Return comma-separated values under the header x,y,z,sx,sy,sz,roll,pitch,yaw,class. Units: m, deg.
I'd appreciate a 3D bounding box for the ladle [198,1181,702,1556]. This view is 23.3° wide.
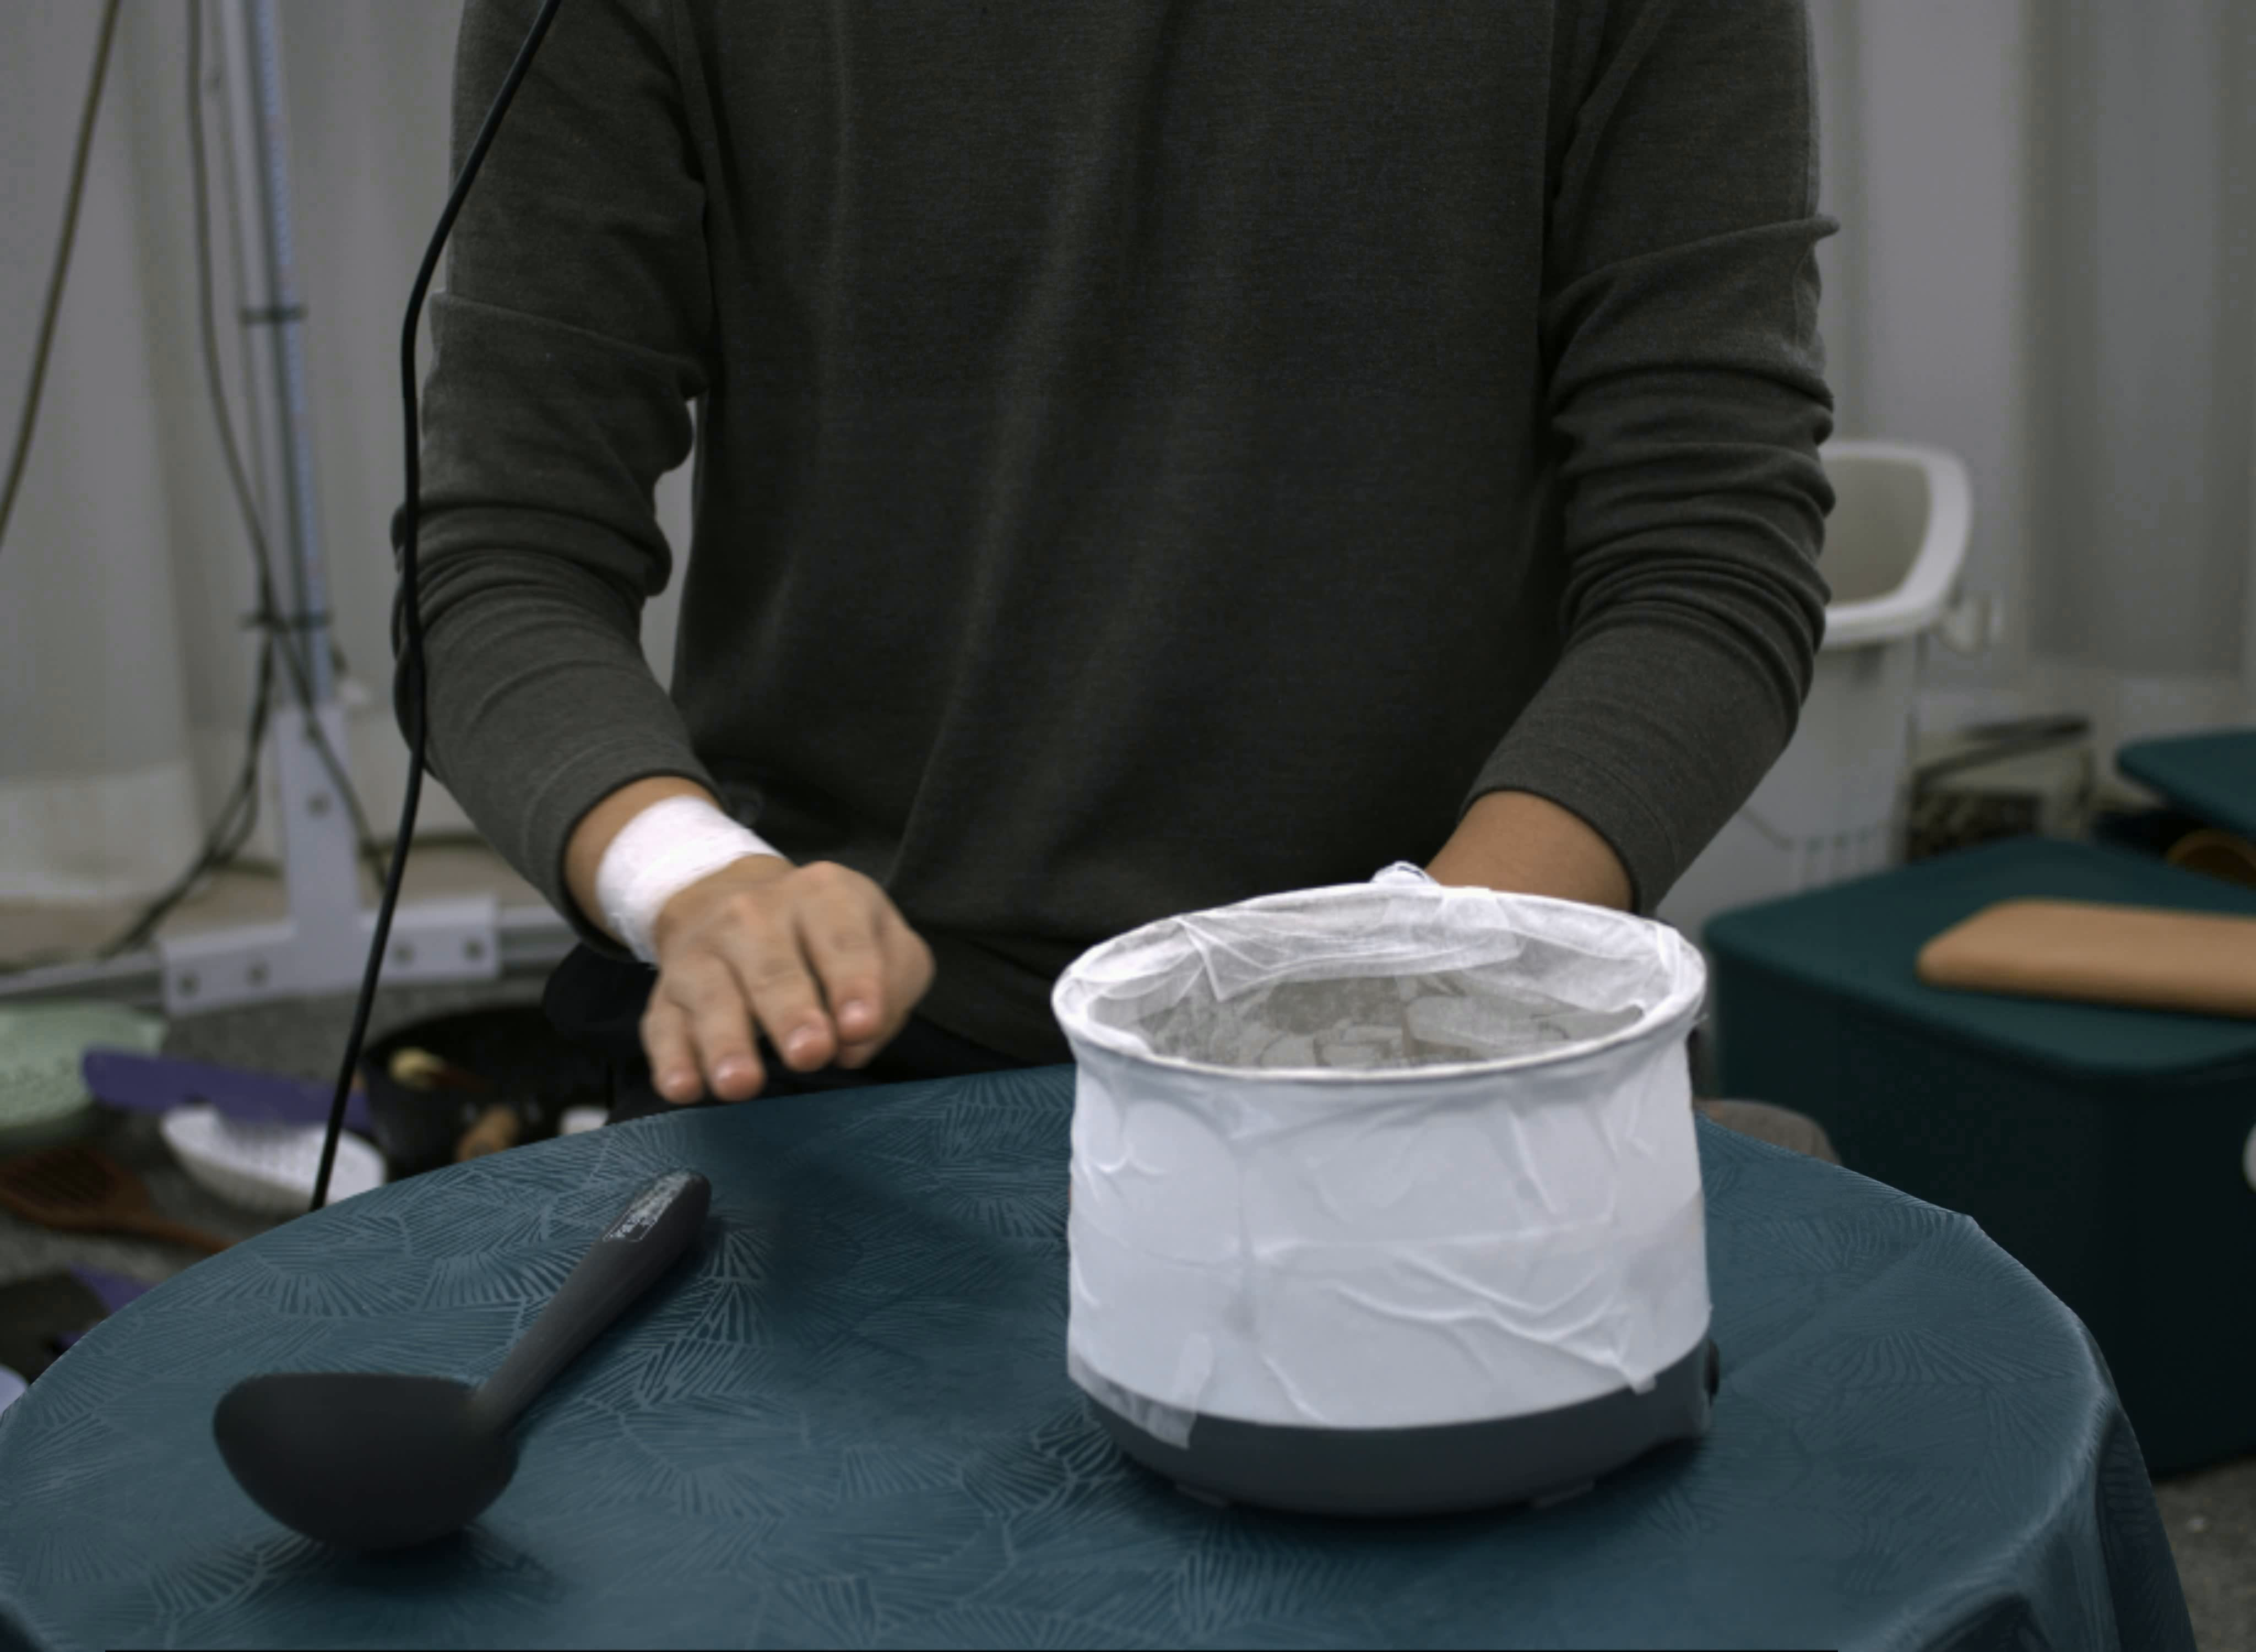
x,y,z,sx,sy,sz,roll,pitch,yaw,class
-0.173,0.133,1.558,0.086,0.063,0.315,3,16,12,ladle

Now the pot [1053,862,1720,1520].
x,y,z,sx,sy,sz,roll,pitch,yaw,class
0.073,0.095,1.514,0.178,0.136,0.235,-1,14,6,pot
